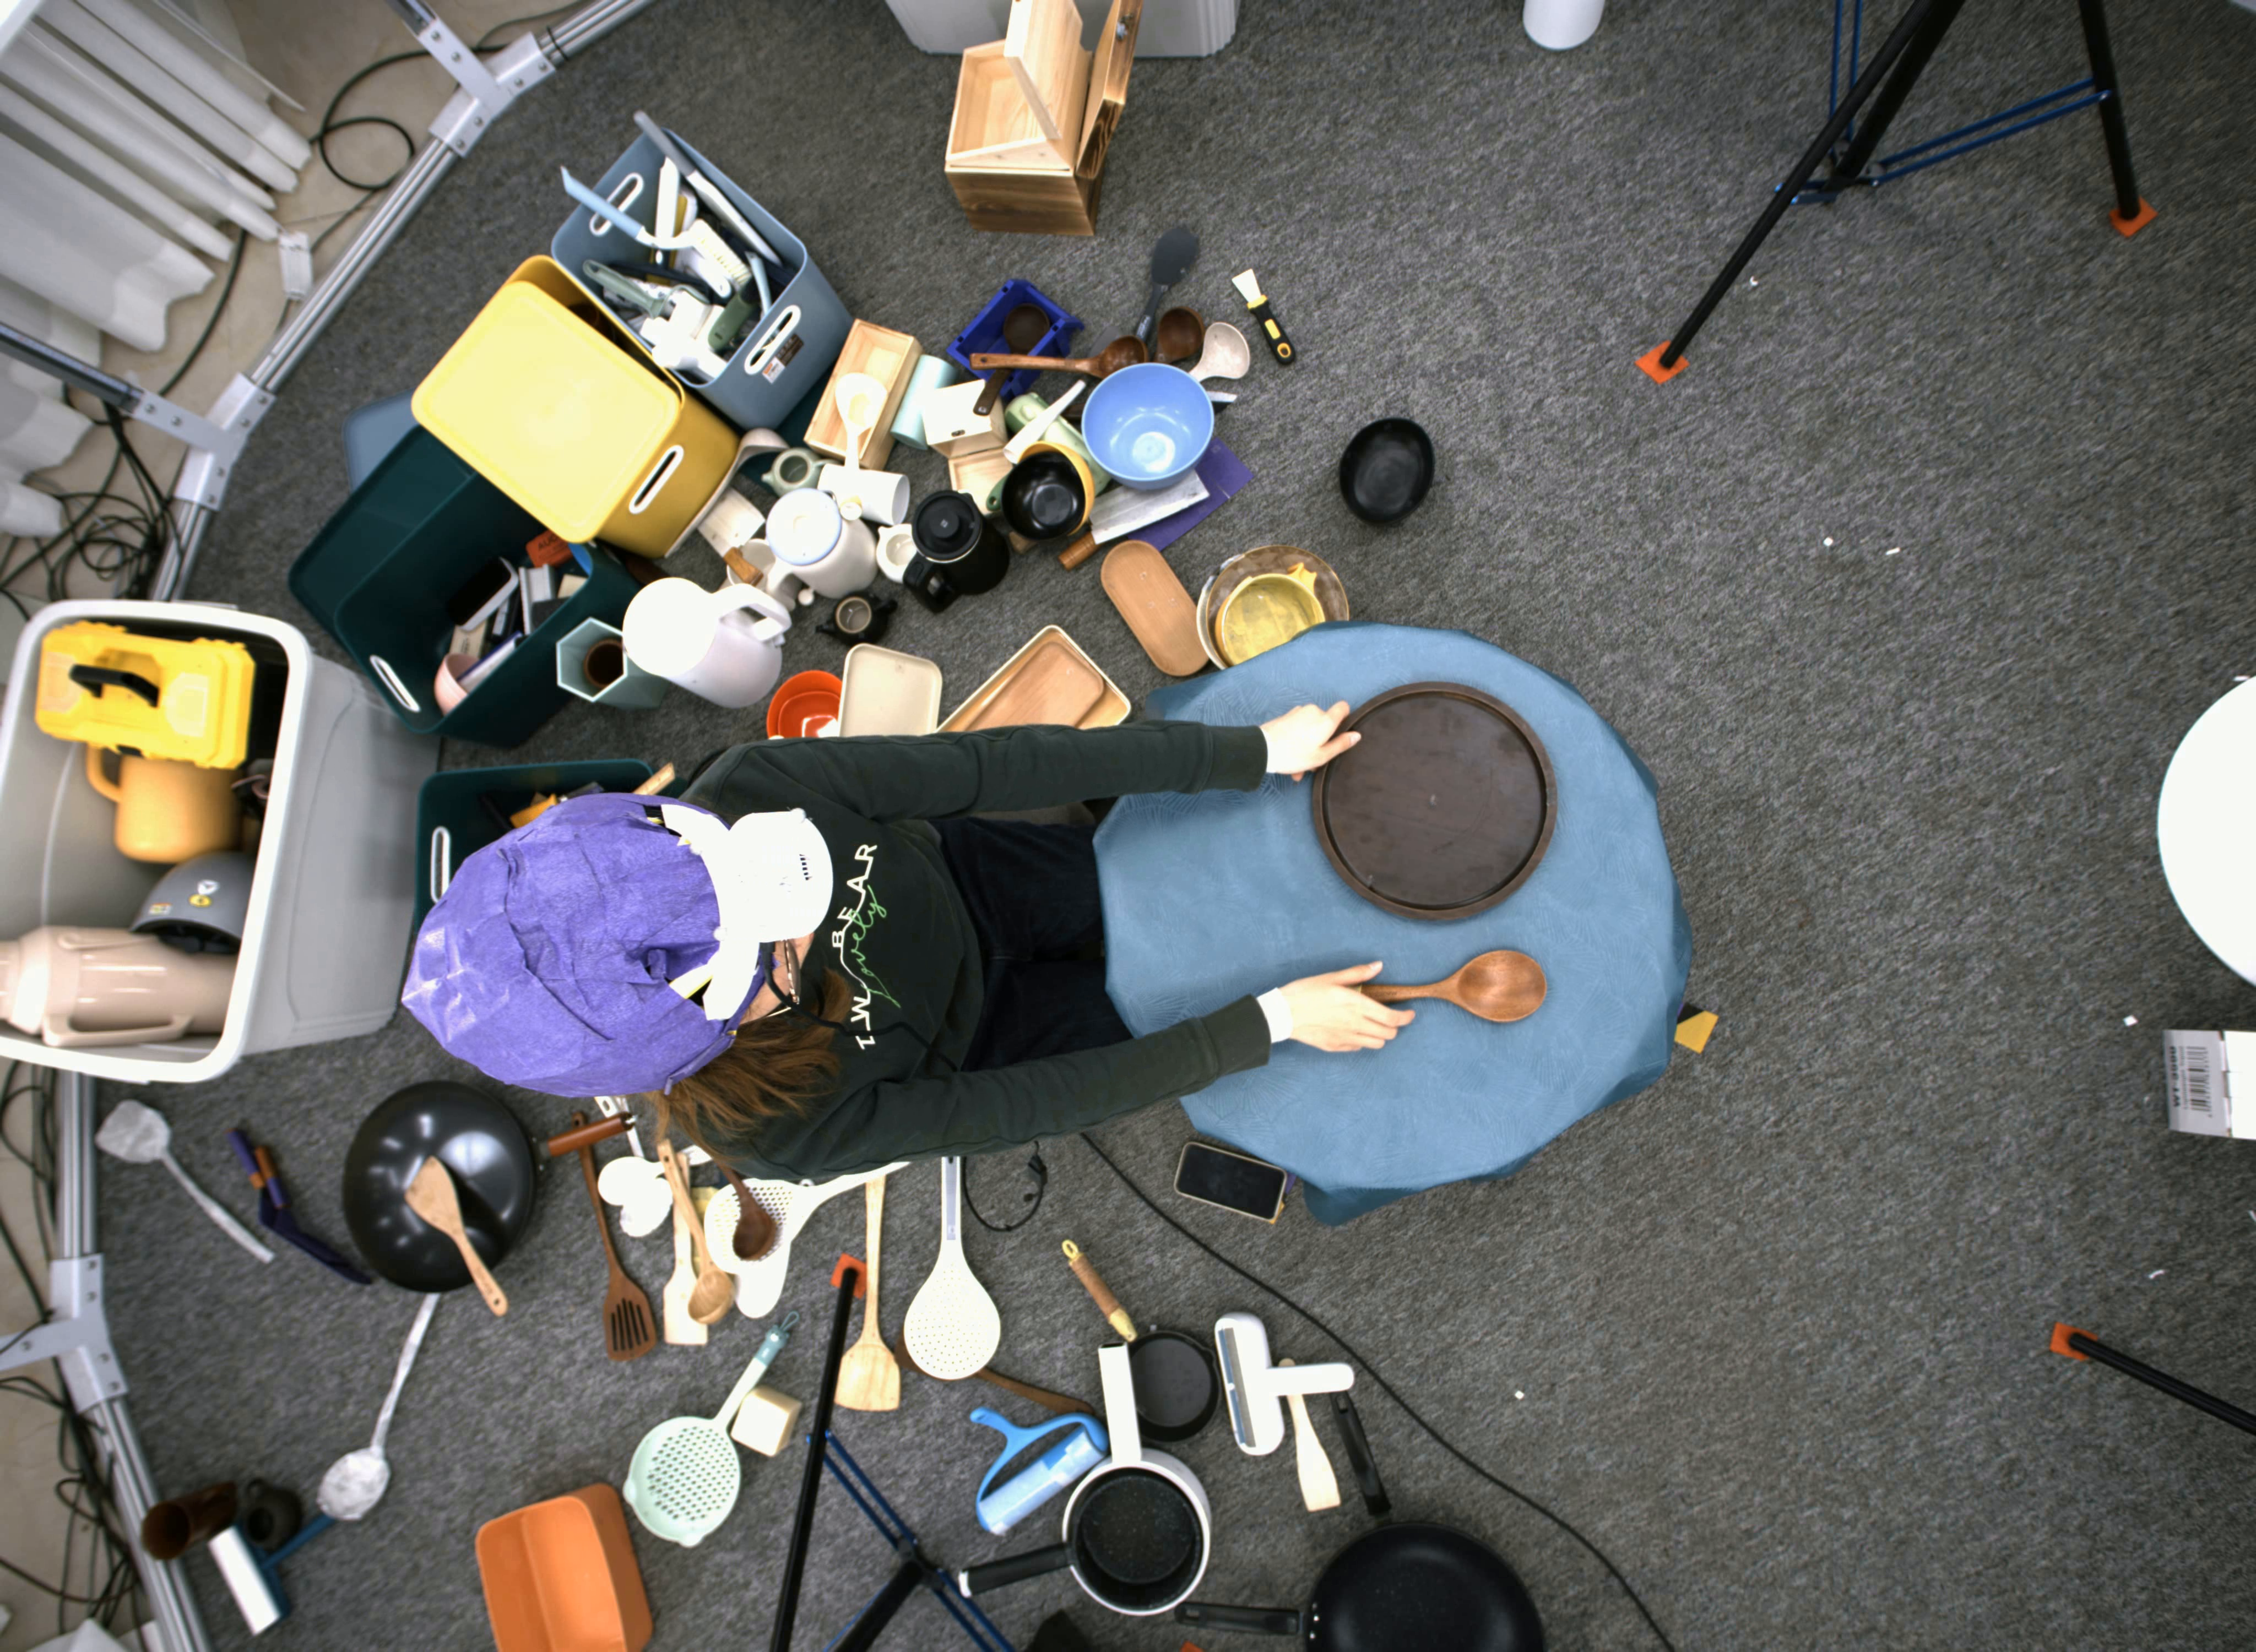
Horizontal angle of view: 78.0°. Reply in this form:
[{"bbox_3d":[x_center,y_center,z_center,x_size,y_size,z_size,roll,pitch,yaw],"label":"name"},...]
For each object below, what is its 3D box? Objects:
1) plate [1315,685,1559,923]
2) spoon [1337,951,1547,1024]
[{"bbox_3d":[0.324,-0.025,1.450,0.256,0.029,0.253,-1,85,10],"label":"plate"},{"bbox_3d":[0.326,0.172,1.439,0.217,0.017,0.075,-6,85,10],"label":"spoon"}]
